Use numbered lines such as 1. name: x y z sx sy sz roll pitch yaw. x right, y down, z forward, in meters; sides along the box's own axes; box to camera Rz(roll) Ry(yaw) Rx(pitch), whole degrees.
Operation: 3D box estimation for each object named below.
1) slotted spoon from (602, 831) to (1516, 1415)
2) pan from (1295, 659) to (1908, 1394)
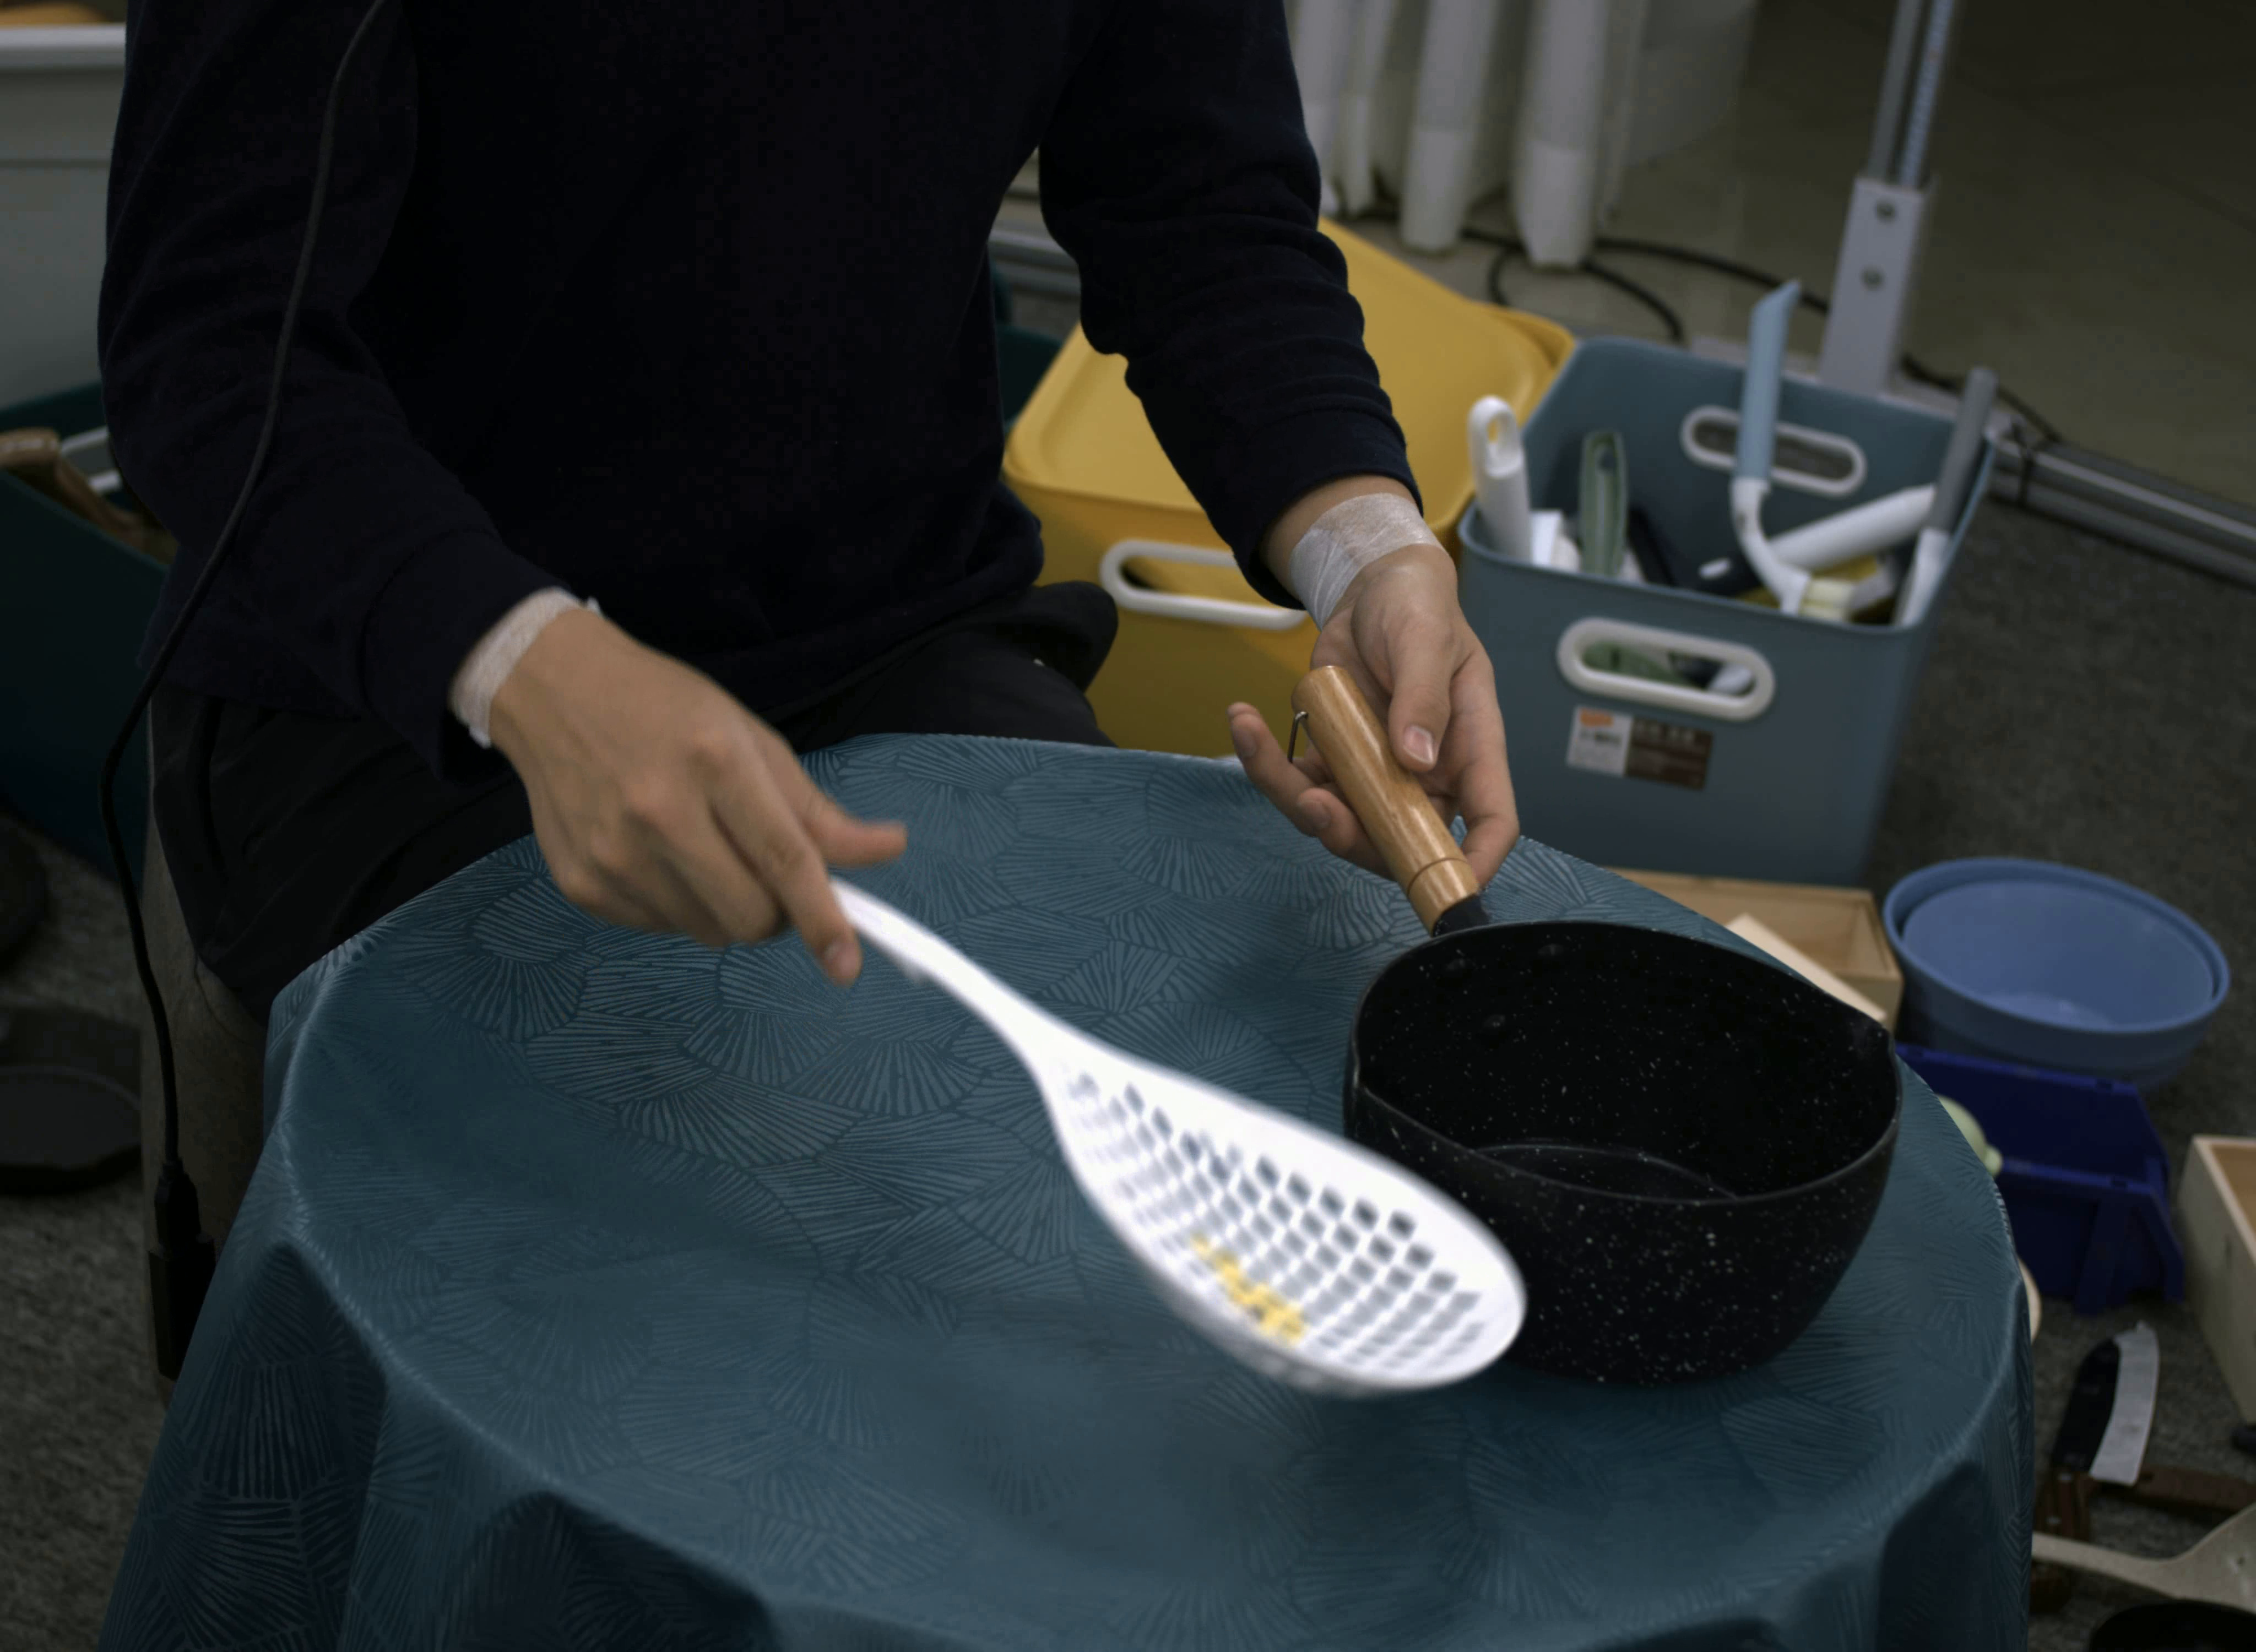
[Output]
1. slotted spoon: -0.031 0.085 1.683 0.350 0.050 0.136 39 30 22
2. pan: 0.129 0.065 1.827 0.206 0.108 0.346 -7 31 -23
